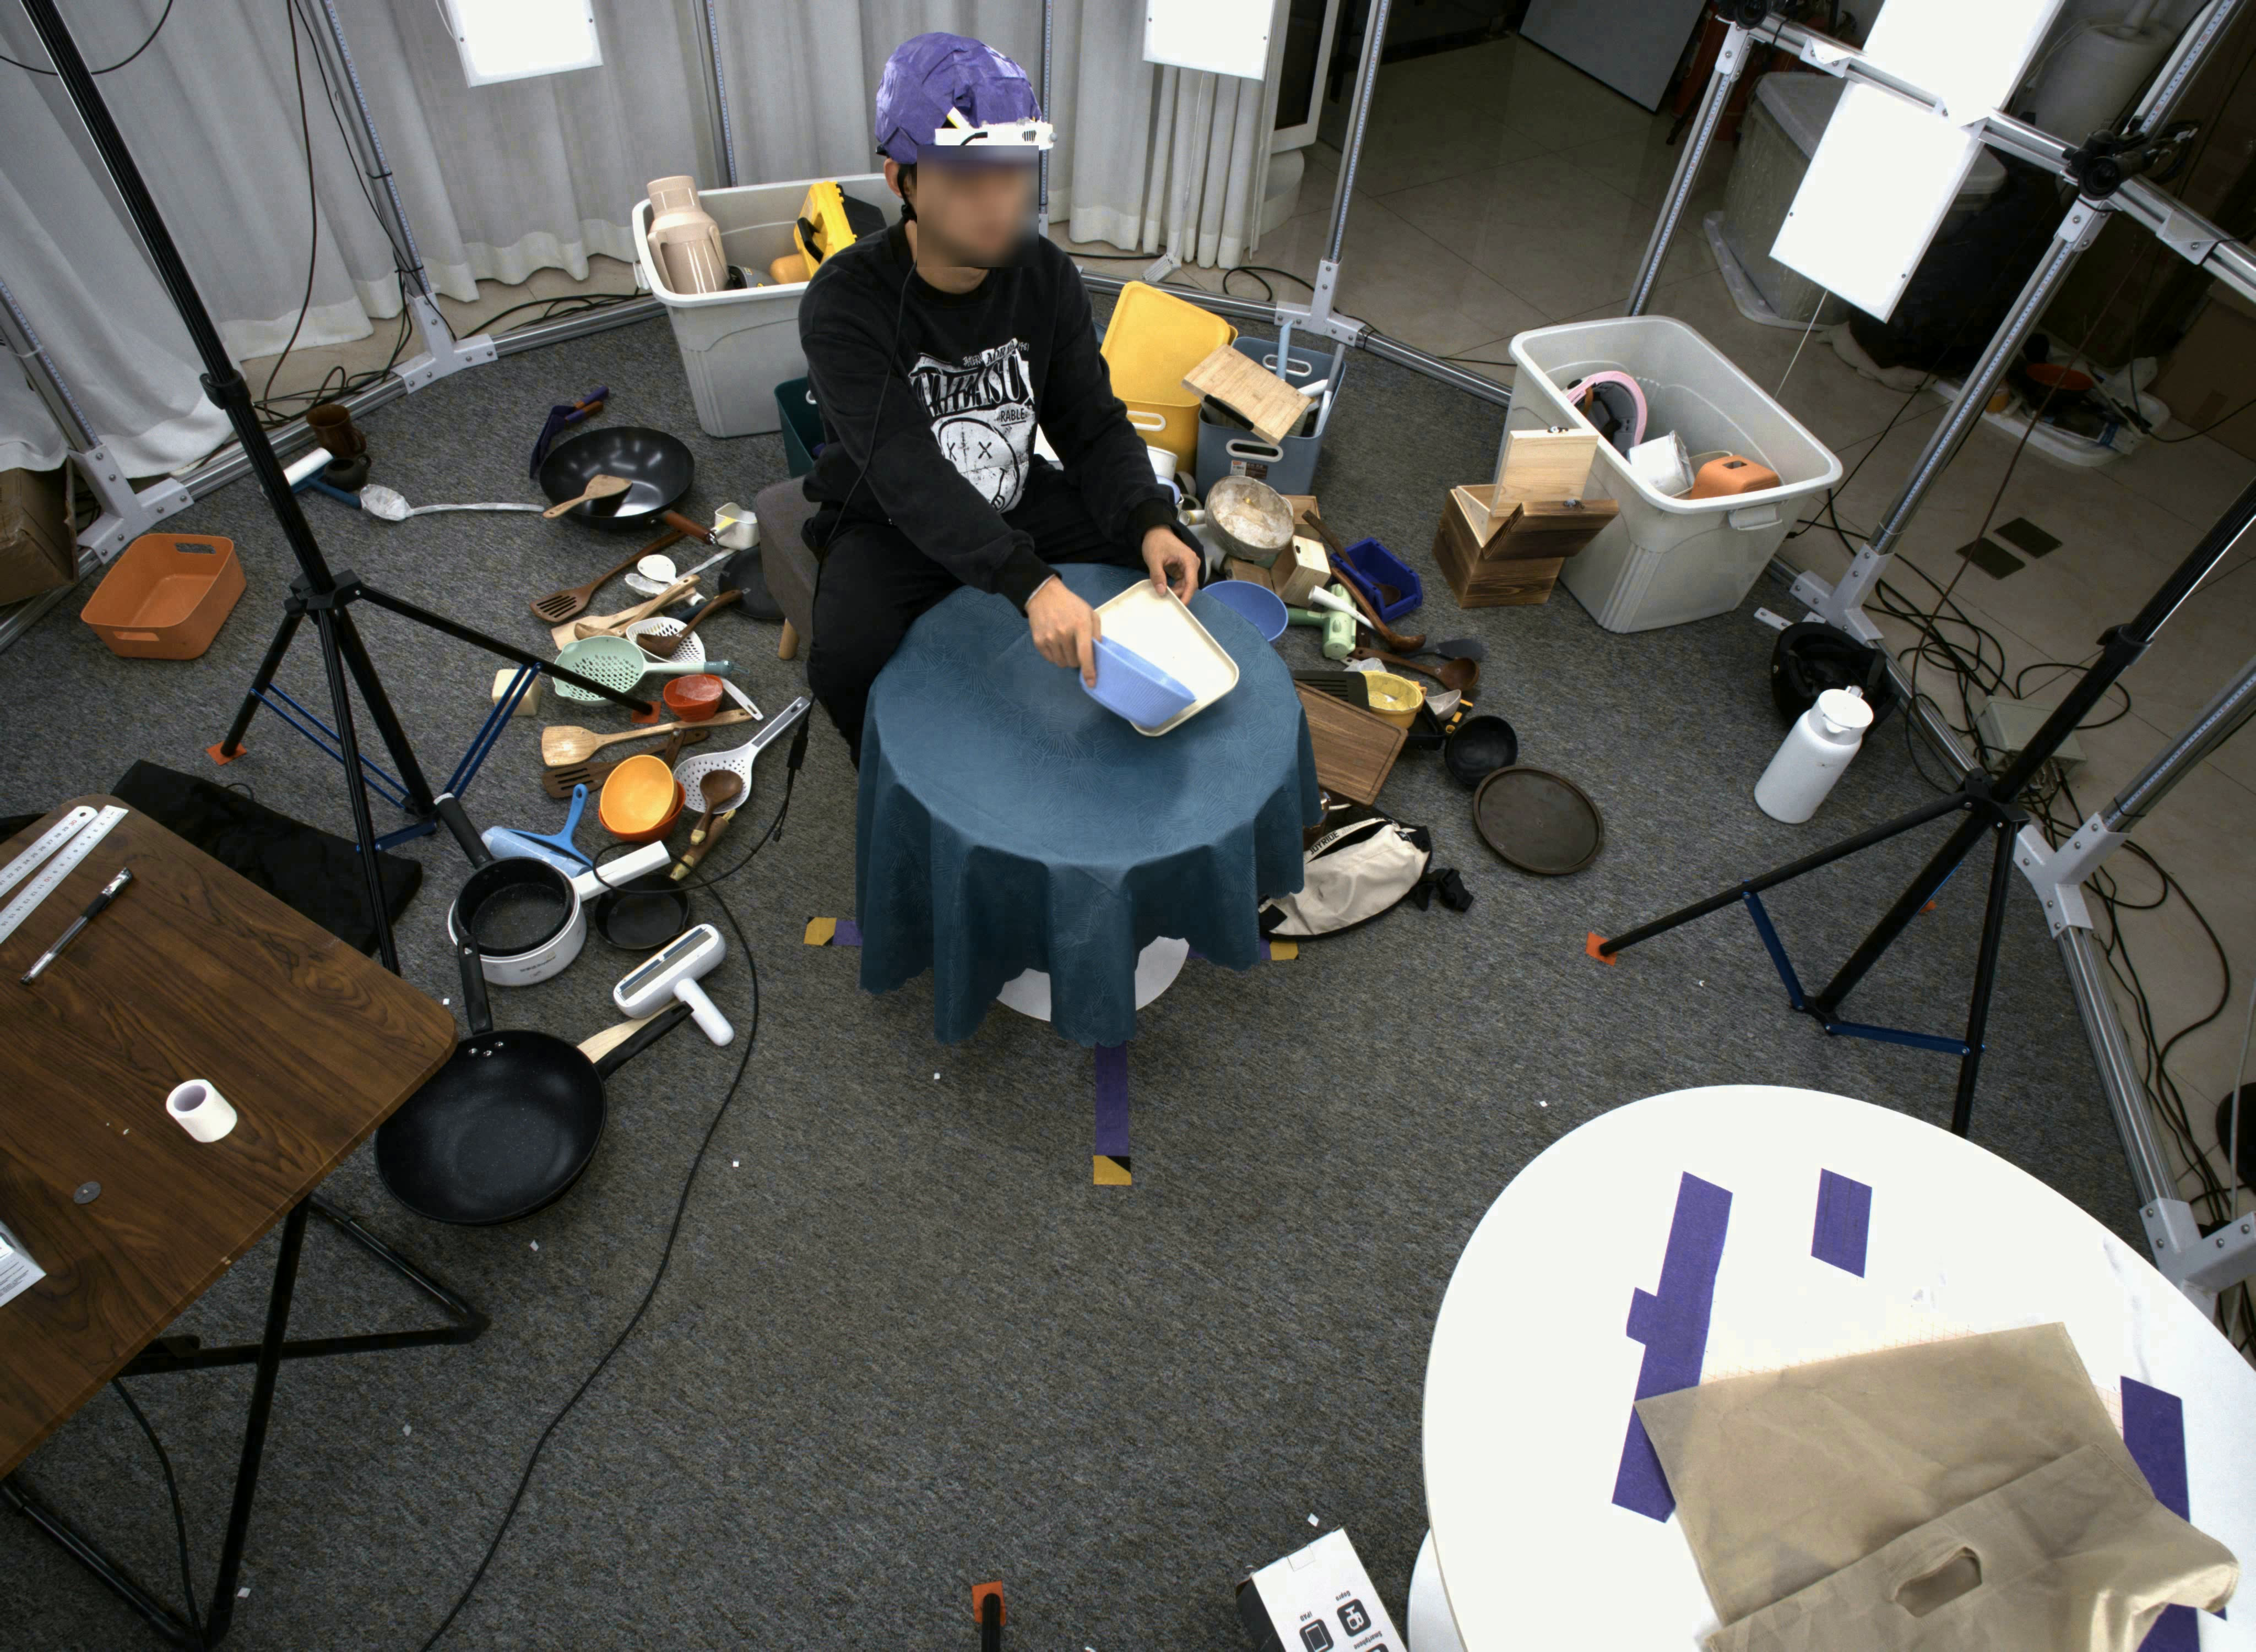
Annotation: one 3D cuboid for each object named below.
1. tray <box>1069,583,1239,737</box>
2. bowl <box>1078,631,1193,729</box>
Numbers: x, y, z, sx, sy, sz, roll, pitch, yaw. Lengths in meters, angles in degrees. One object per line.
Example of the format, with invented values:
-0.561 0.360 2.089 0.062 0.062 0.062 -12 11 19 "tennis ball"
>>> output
0.035 -0.241 1.853 0.172 0.017 0.244 -32 60 -8 "tray"
-0.002 -0.189 1.735 0.175 0.070 0.178 31 12 -7 "bowl"
